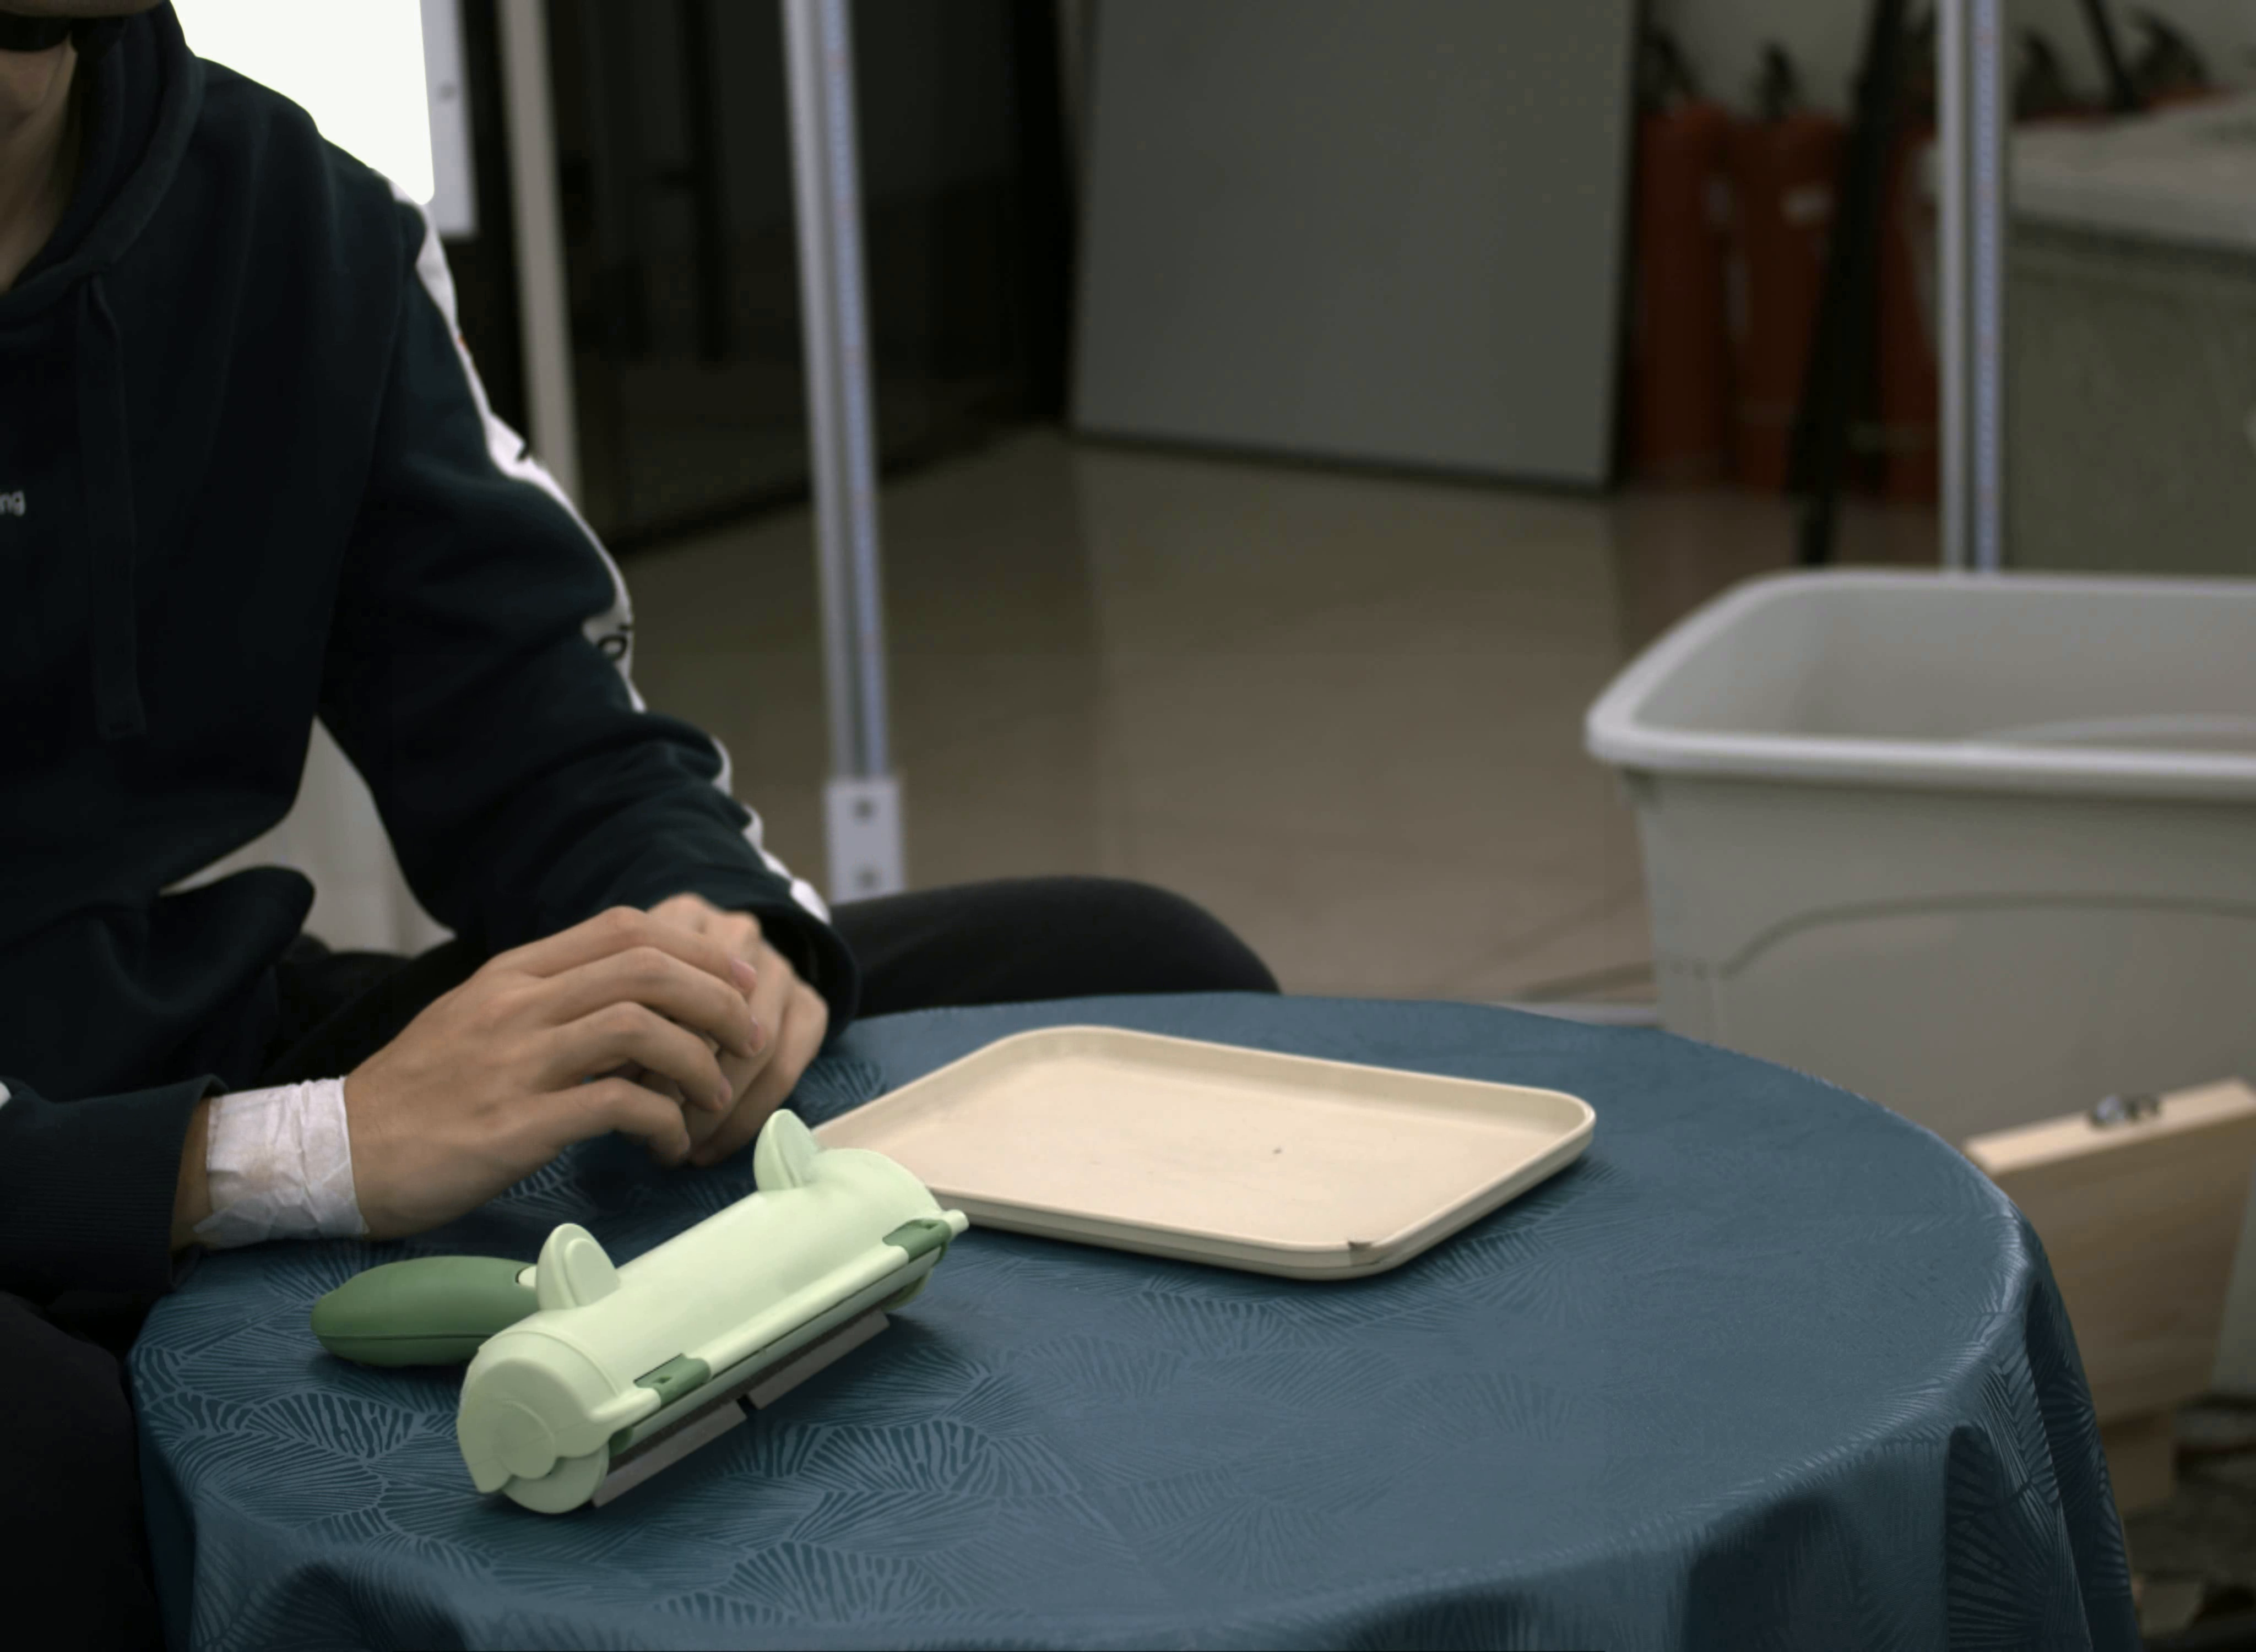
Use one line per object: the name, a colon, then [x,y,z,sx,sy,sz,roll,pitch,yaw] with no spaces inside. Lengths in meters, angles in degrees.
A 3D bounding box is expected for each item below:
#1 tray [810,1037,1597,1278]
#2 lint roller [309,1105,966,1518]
tray: [0.023,0.109,1.778,0.241,0.017,0.168,6,16,35]
lint roller: [-0.171,0.132,1.615,0.184,0.083,0.195,9,18,29]
